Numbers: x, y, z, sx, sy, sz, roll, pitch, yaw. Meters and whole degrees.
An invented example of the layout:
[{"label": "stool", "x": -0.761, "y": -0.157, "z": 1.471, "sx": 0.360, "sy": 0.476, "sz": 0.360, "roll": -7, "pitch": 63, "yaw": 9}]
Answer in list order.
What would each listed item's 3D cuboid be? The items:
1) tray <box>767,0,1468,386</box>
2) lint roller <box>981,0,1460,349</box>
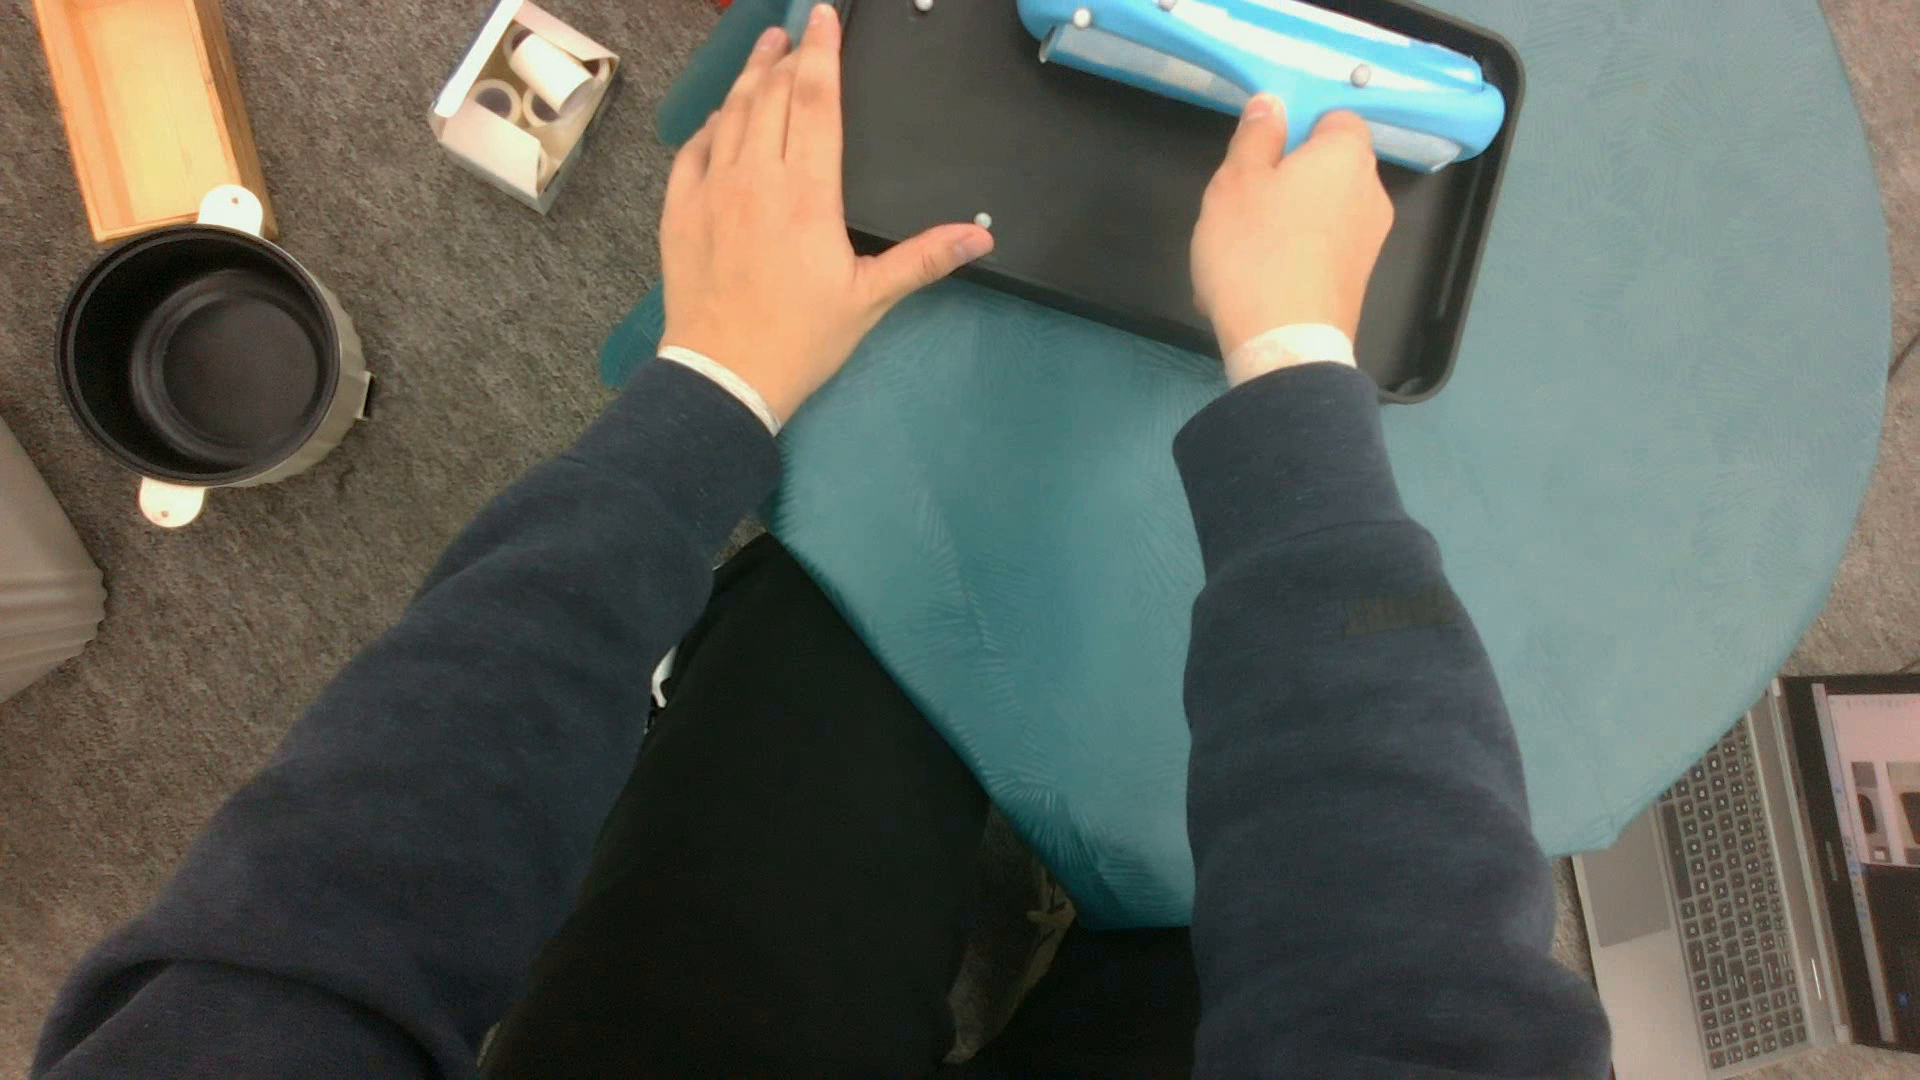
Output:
[{"label": "tray", "x": 0.079, "y": -0.191, "z": 0.649, "sx": 0.318, "sy": 0.037, "sz": 0.184, "roll": 12, "pitch": 86, "yaw": -12}, {"label": "lint roller", "x": 0.120, "y": -0.170, "z": 0.607, "sx": 0.229, "sy": 0.067, "sz": 0.181, "roll": 10, "pitch": 54, "yaw": -12}]
